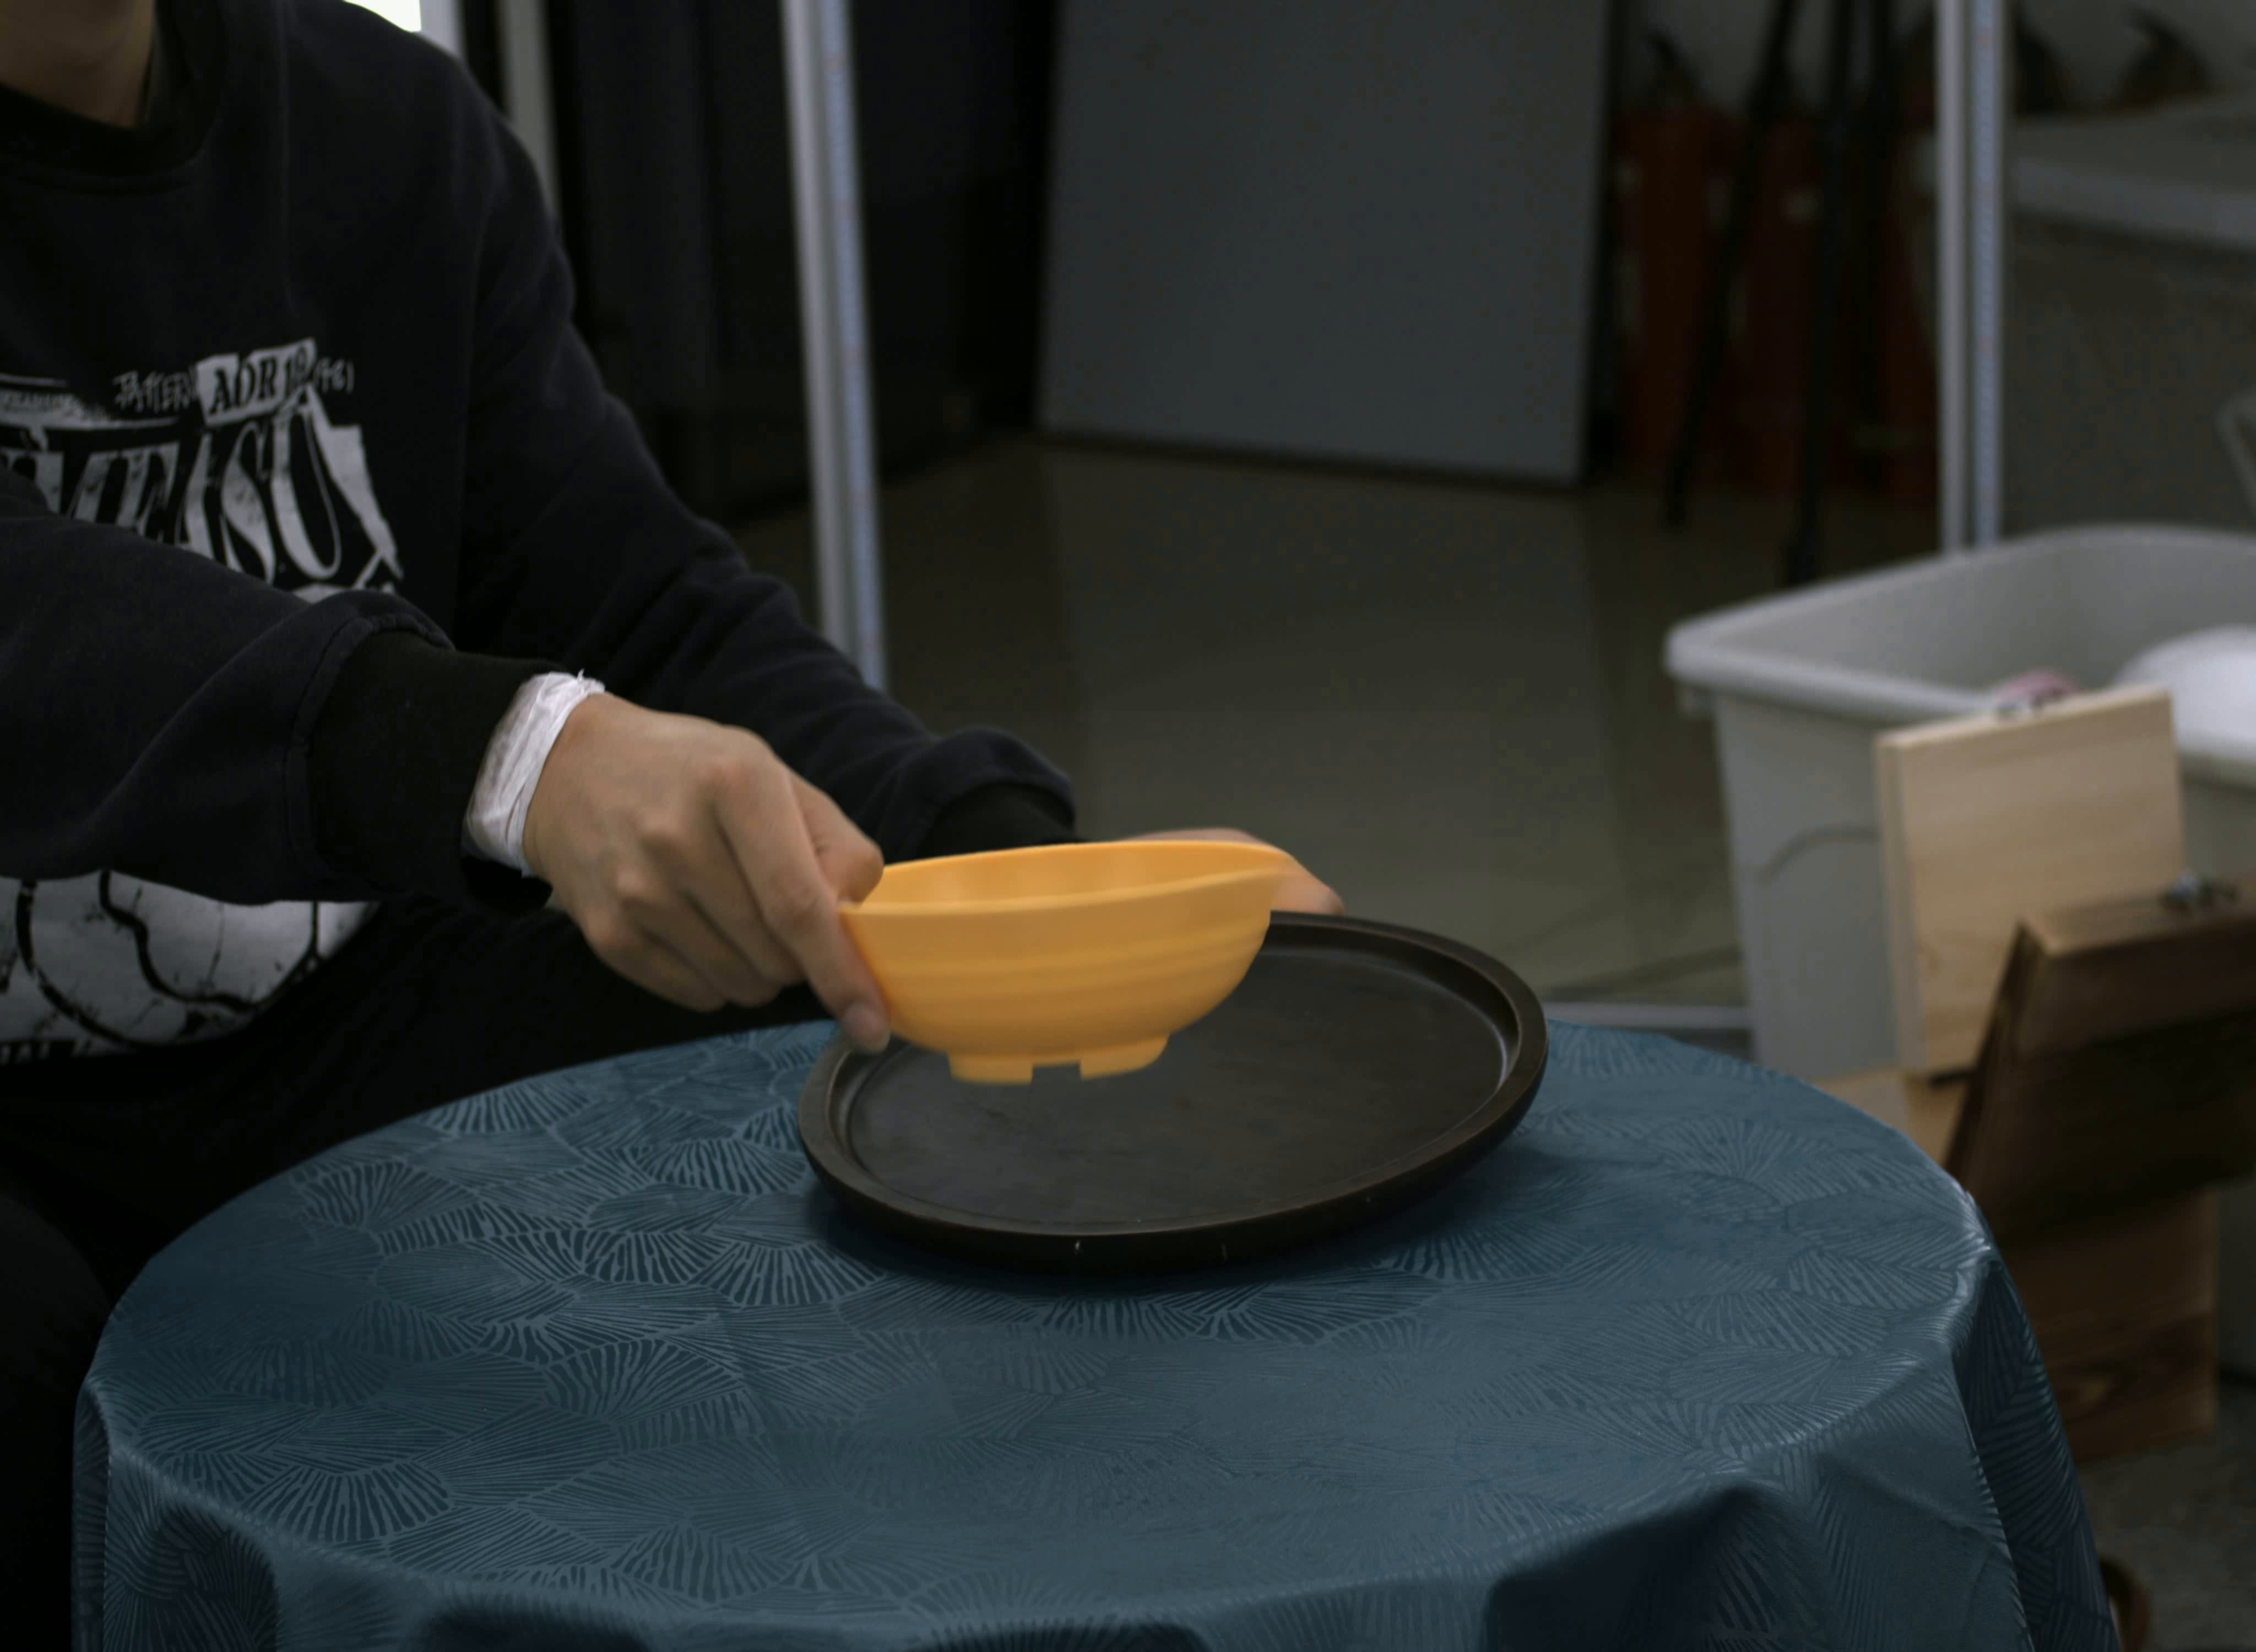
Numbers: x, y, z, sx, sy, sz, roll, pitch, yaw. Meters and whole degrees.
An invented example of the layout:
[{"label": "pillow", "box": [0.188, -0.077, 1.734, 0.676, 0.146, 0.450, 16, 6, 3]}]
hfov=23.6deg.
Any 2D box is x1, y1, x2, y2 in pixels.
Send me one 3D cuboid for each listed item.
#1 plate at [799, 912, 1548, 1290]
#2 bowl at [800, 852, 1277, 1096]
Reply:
[{"label": "plate", "box": [0.016, 0.088, 1.786, 0.252, 0.029, 0.255, -9, 22, 3]}, {"label": "bowl", "box": [-0.023, 0.045, 1.592, 0.143, 0.061, 0.145, -7, 4, 0]}]
